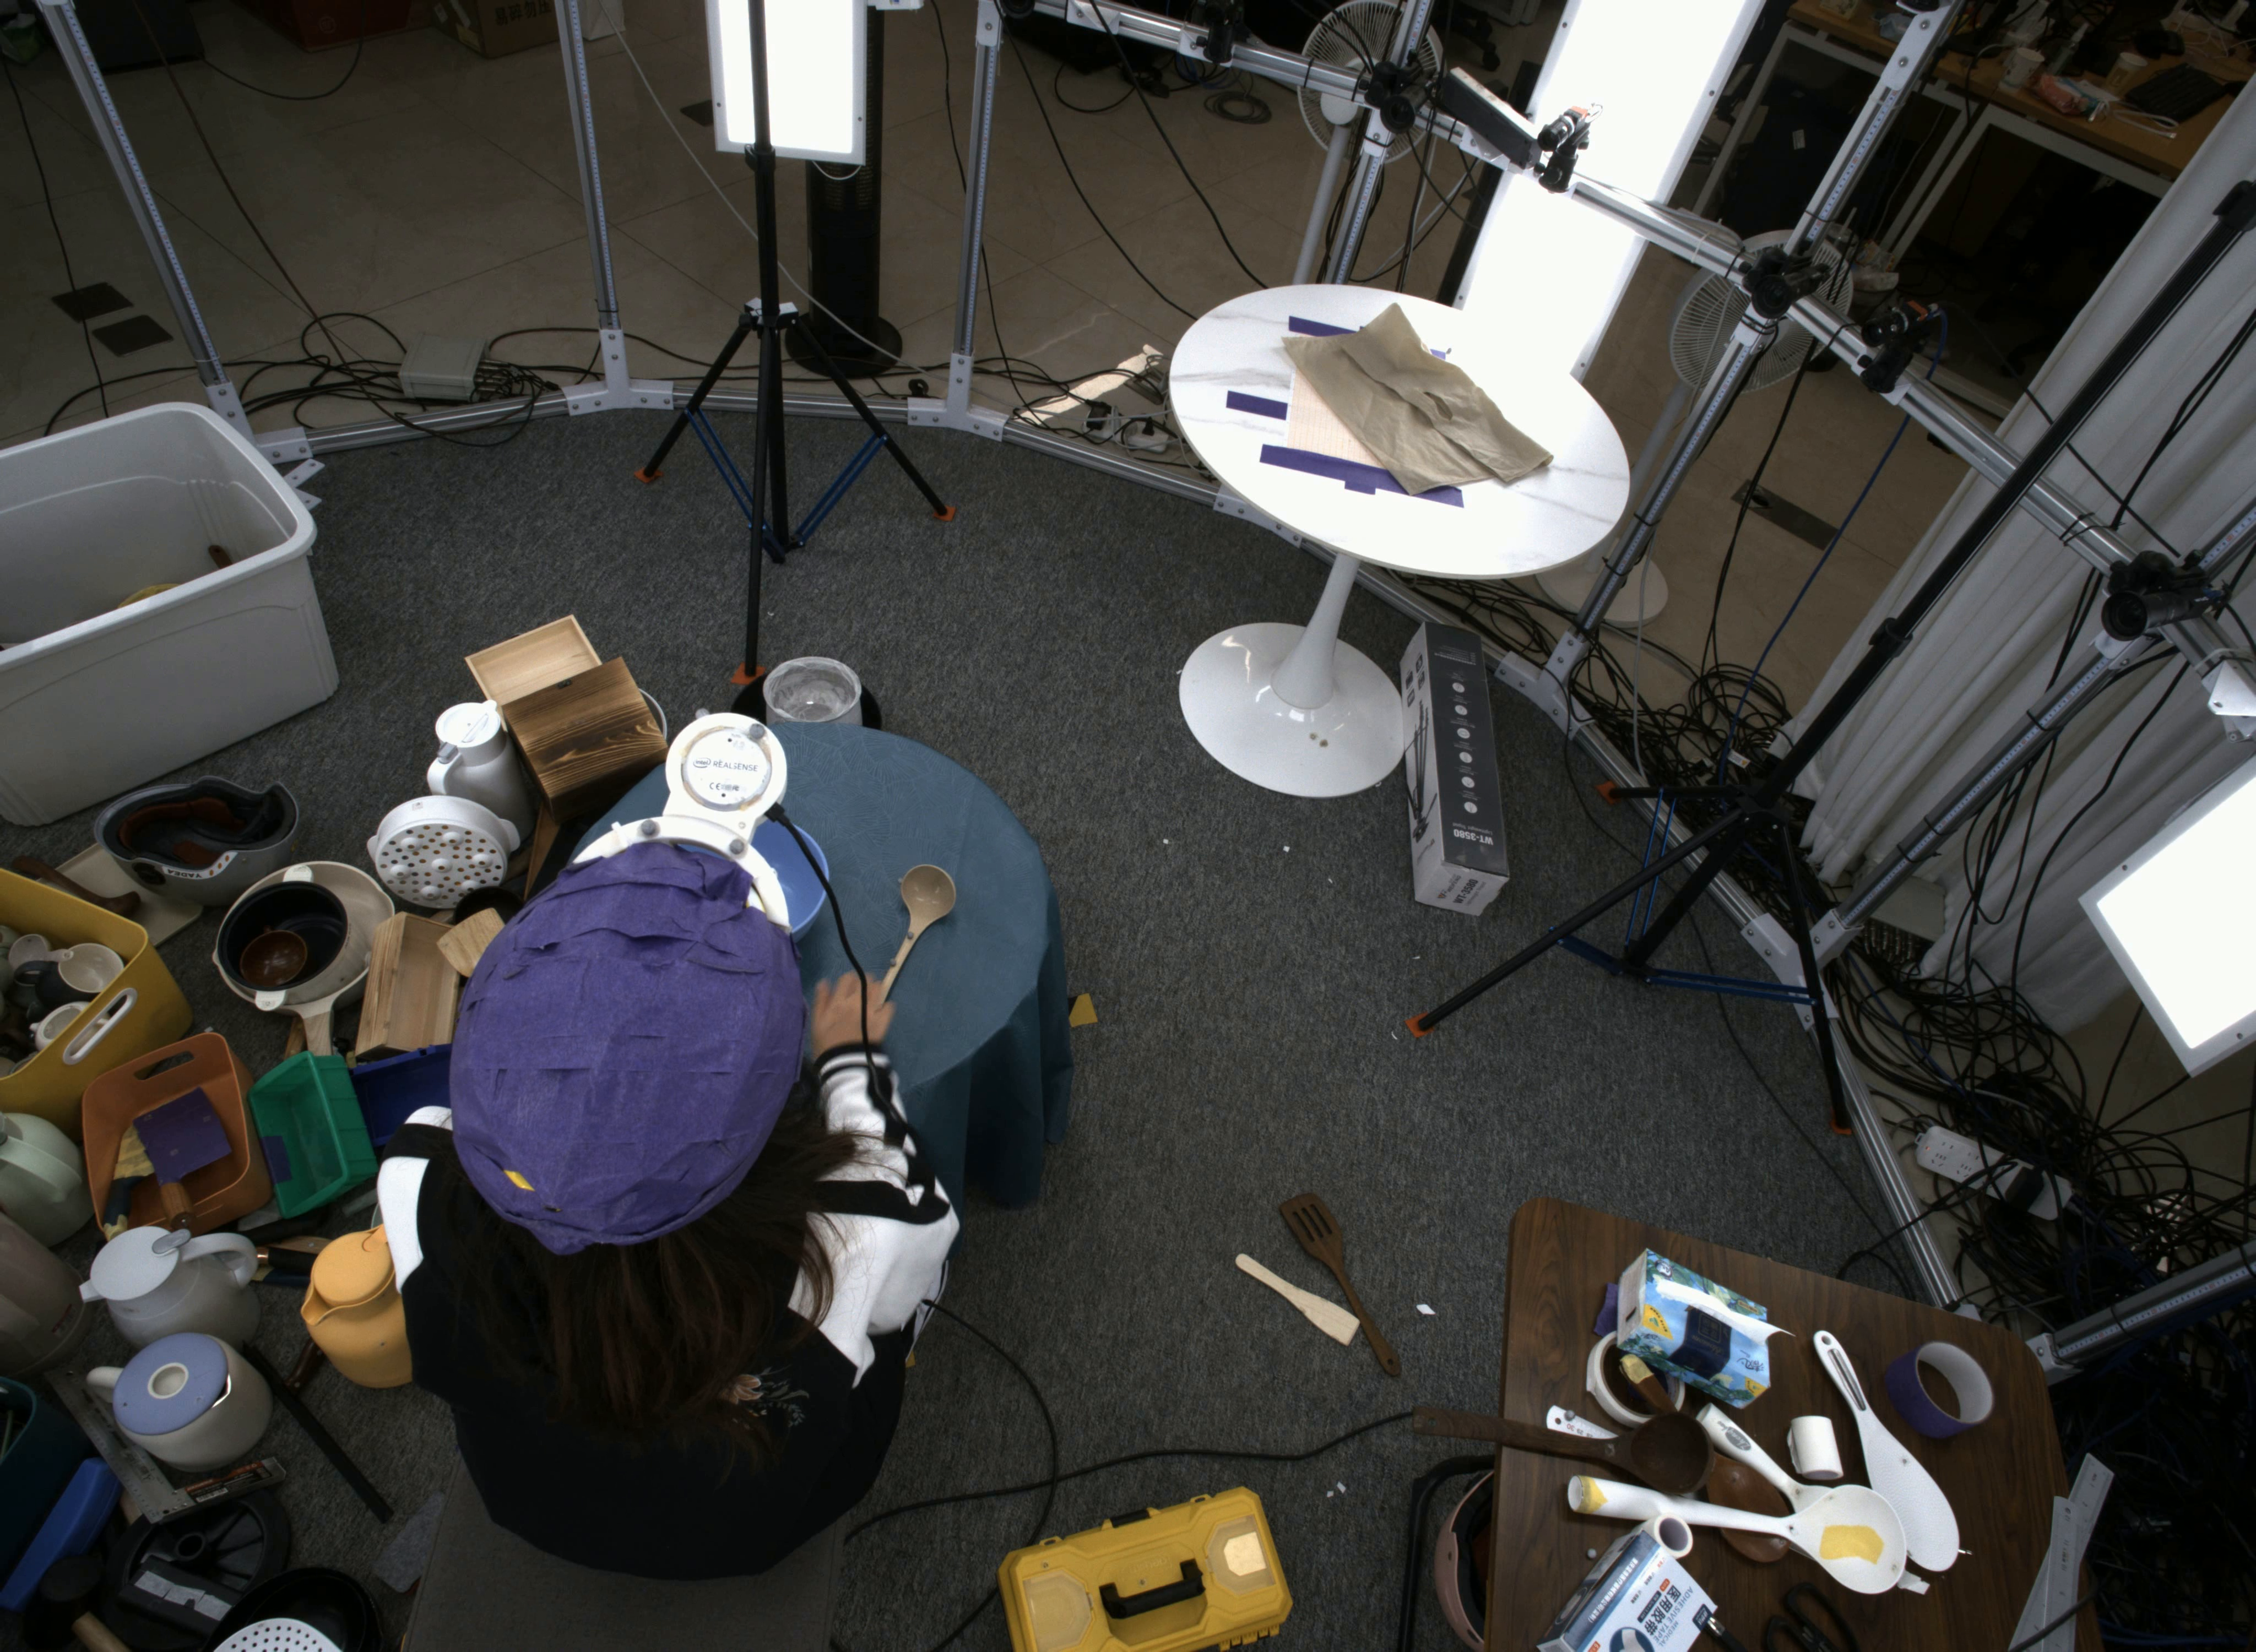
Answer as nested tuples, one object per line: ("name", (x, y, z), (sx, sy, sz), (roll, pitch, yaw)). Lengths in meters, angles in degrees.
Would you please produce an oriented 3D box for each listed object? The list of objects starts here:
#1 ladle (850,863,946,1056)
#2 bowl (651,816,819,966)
("ladle", (-0.290, 0.153, 1.592), (0.071, 0.074, 0.251), (16, 51, 1))
("bowl", (-0.477, 0.093, 1.578), (0.196, 0.097, 0.193), (9, 52, -10))
